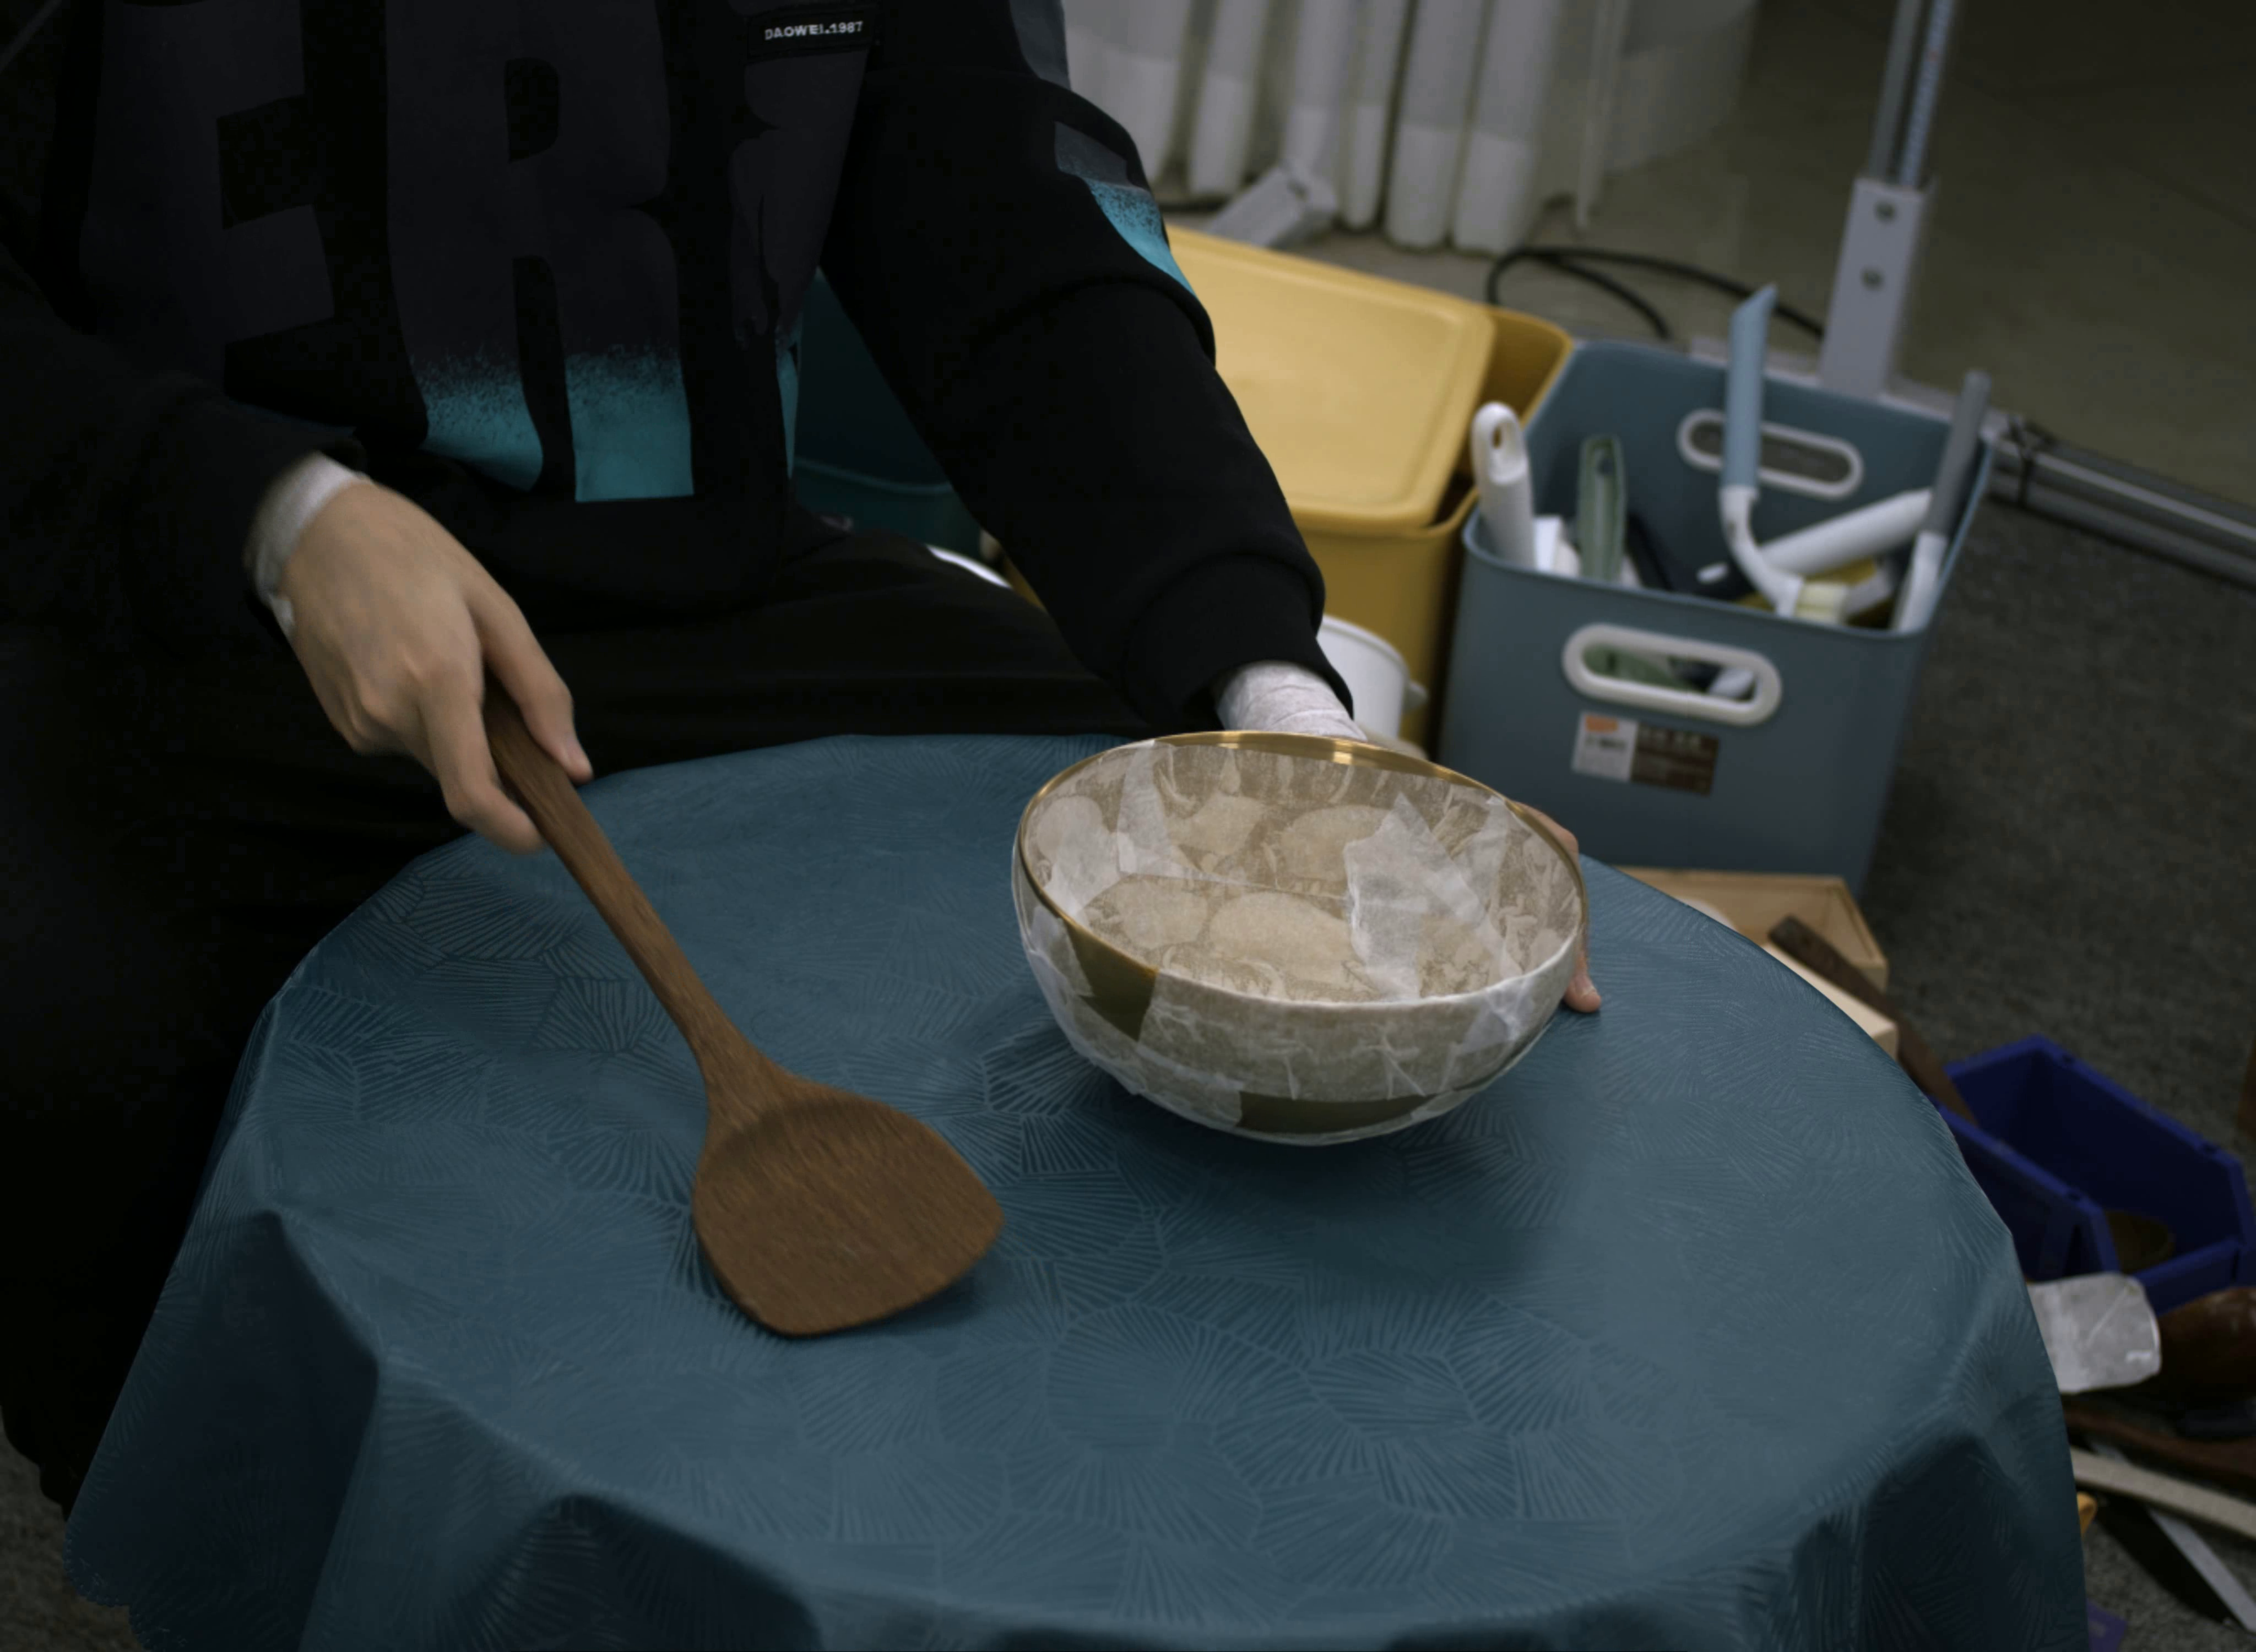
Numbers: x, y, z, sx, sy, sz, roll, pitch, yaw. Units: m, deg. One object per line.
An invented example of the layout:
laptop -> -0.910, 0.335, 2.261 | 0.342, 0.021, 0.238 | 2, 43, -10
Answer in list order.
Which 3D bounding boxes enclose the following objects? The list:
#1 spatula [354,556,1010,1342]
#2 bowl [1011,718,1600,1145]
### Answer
spatula -> -0.171, 0.031, 1.813 | 0.095, 0.016, 0.389 | -22, 54, -24
bowl -> 0.058, 0.049, 1.856 | 0.214, 0.094, 0.216 | 4, 27, -2
